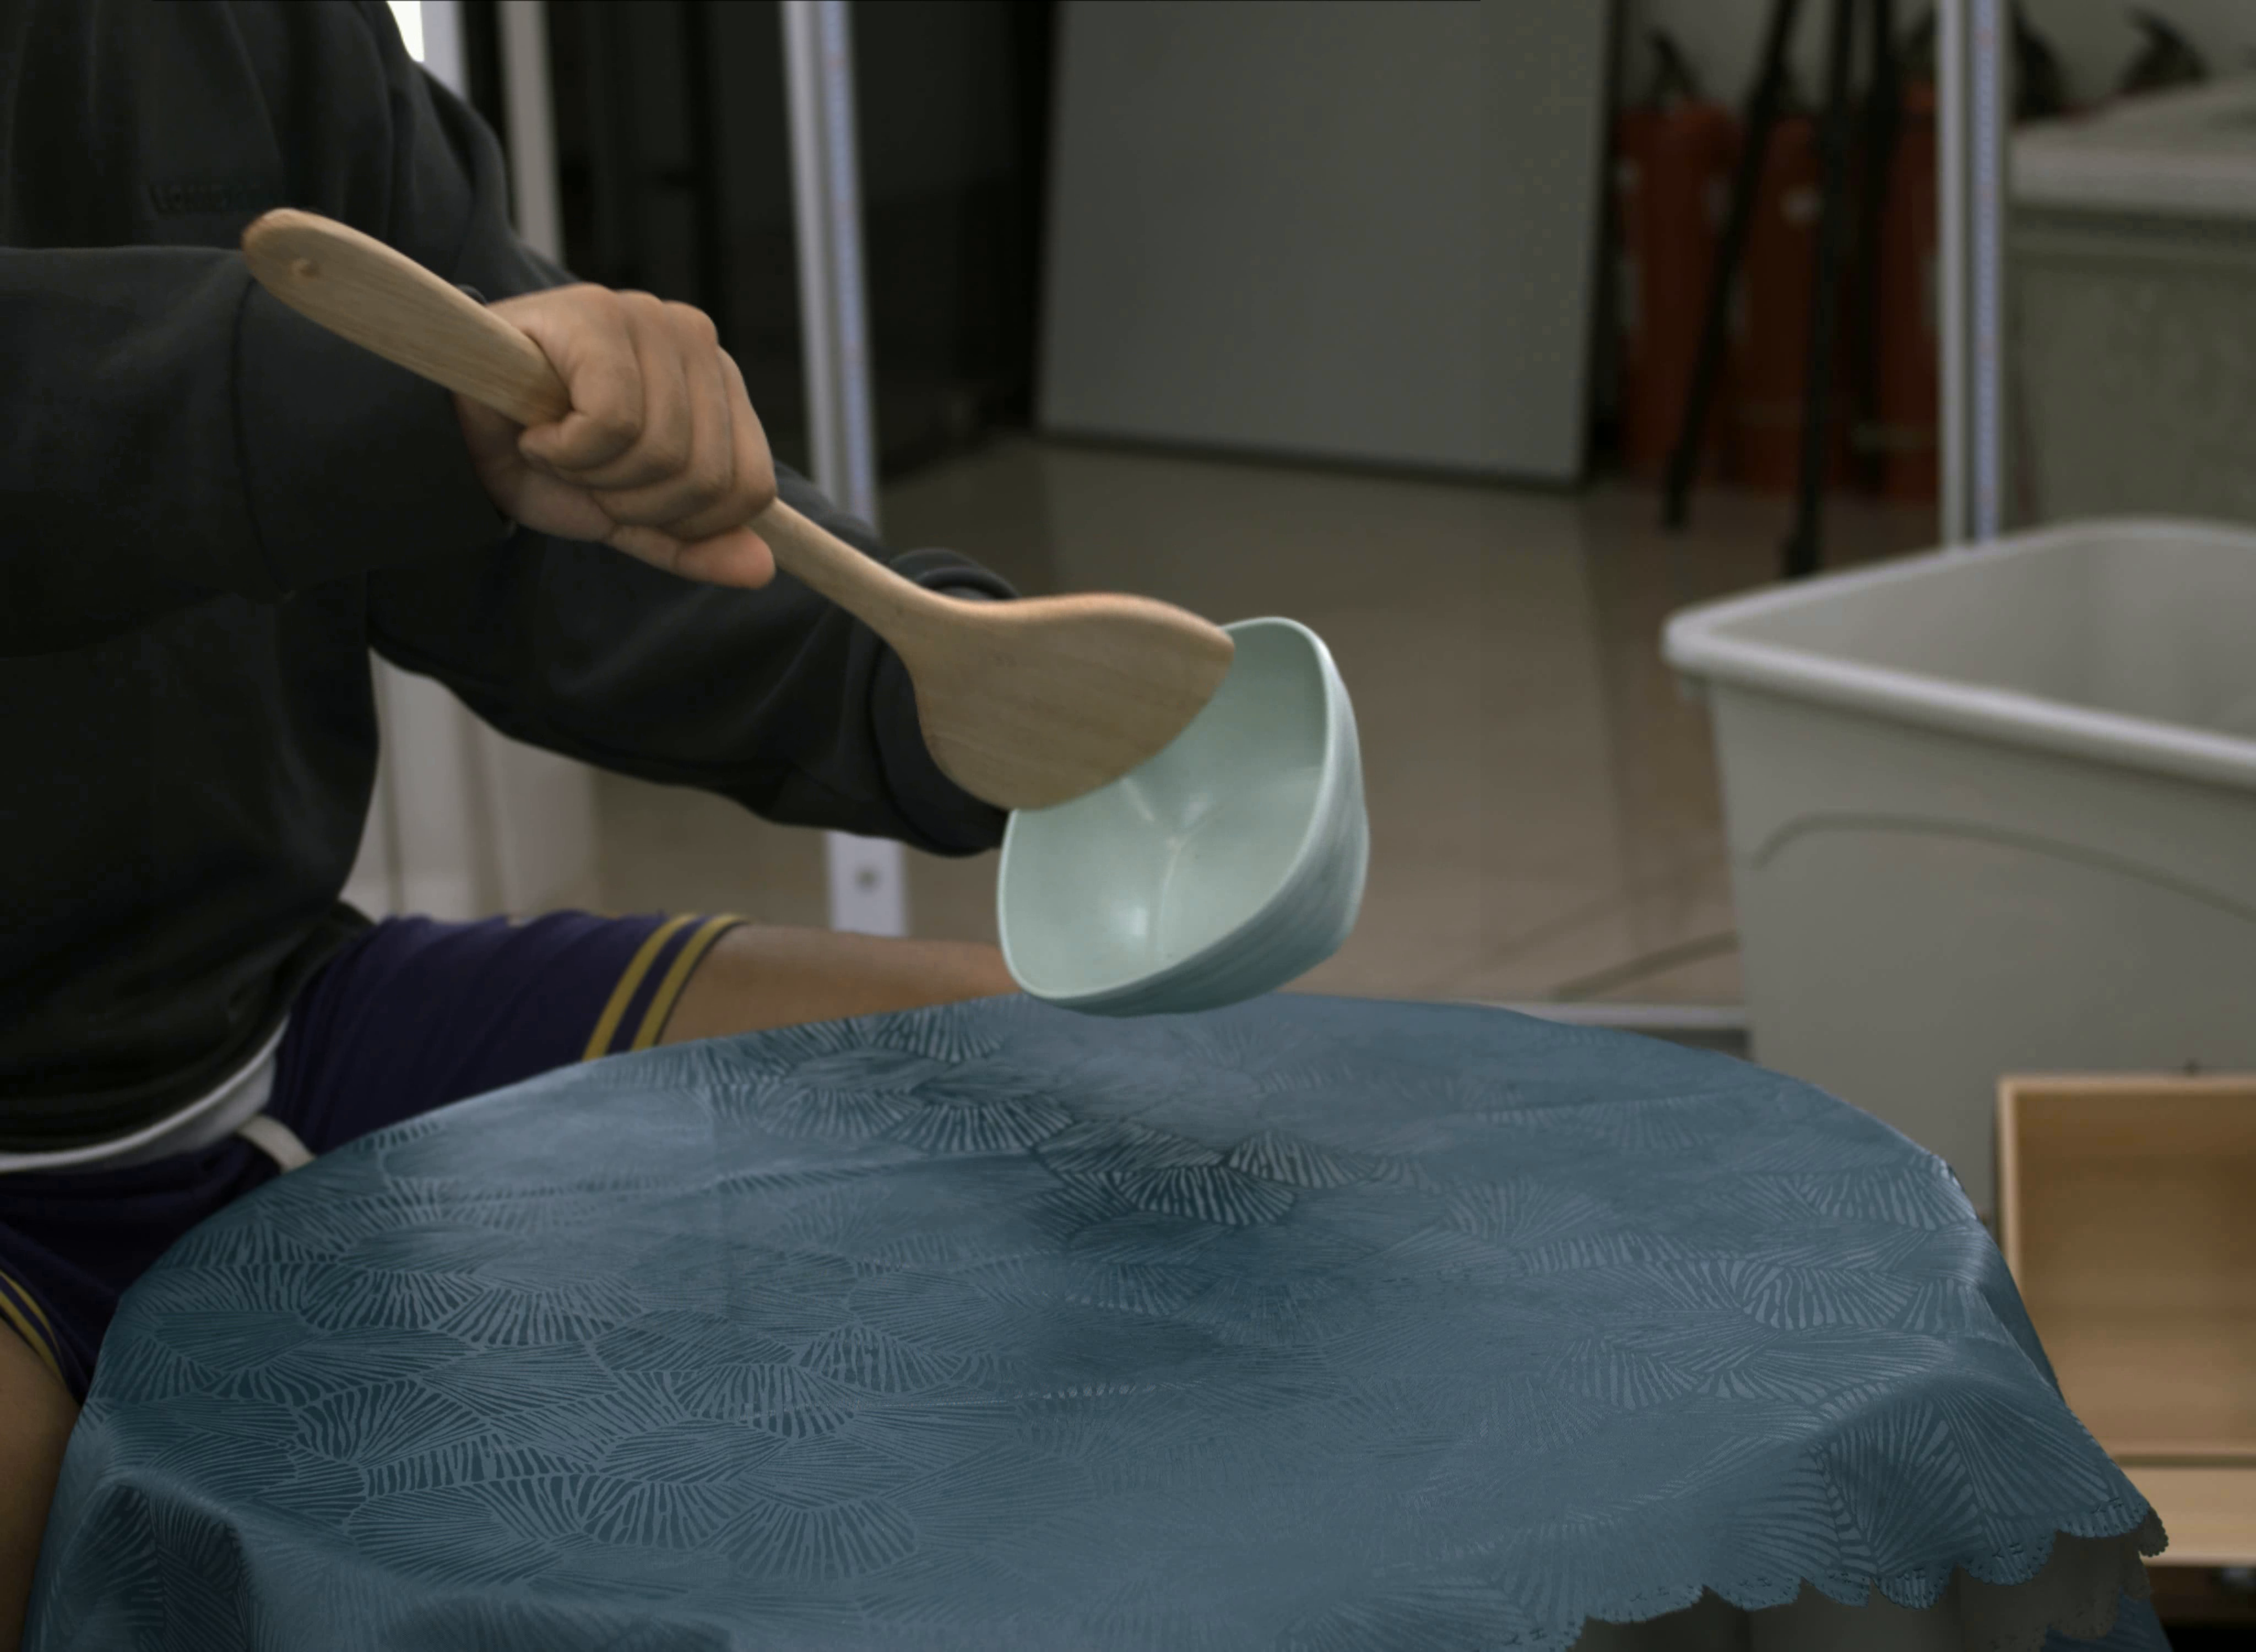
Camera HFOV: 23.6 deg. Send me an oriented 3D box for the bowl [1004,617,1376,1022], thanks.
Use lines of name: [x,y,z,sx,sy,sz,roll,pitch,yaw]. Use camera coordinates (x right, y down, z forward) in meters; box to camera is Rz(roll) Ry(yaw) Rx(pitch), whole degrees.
bowl: [0.031,0.009,1.765,0.153,0.152,0.058,12,-23,49]

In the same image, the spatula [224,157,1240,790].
spatula: [-0.112,-0.106,1.598,0.384,0.096,0.019,31,25,-39]
